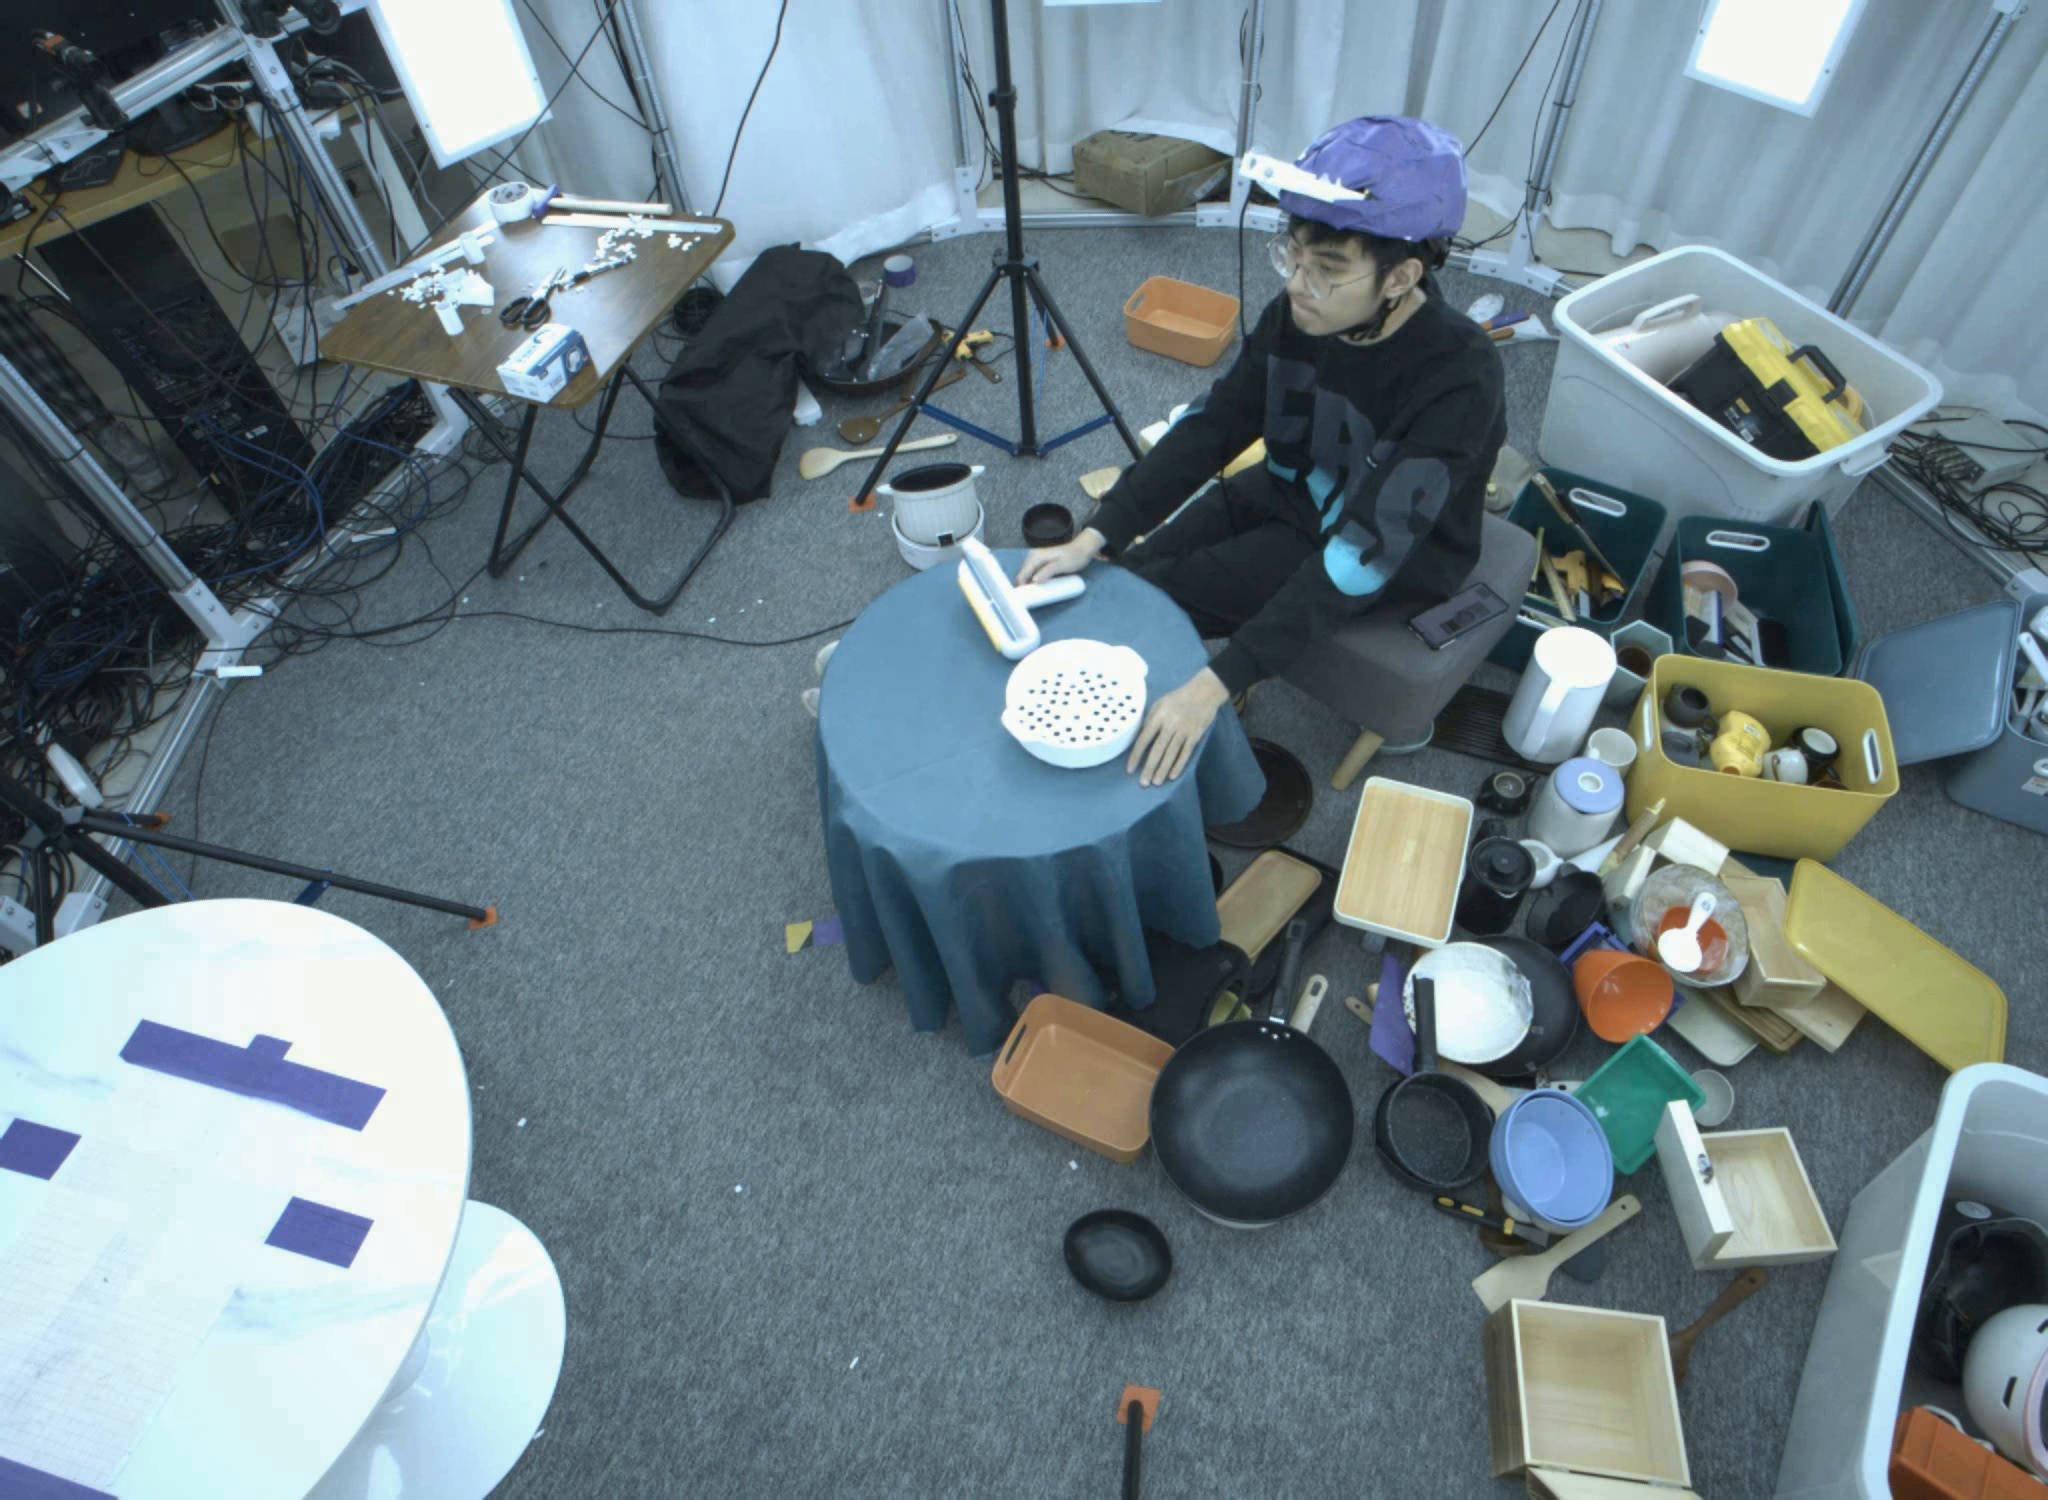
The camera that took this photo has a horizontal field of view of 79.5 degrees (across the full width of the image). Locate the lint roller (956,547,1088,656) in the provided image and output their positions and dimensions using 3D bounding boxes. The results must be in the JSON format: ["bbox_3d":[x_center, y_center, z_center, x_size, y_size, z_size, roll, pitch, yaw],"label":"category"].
[{"bbox_3d":[0.010,-0.245,1.915,0.194,0.075,0.190,-20,62,-14],"label":"lint roller"}]

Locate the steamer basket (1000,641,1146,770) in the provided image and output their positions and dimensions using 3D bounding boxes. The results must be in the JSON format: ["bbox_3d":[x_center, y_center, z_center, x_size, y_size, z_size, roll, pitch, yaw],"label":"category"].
[{"bbox_3d":[0.071,-0.063,1.786,0.232,0.070,0.198,-29,60,-20],"label":"steamer basket"}]
